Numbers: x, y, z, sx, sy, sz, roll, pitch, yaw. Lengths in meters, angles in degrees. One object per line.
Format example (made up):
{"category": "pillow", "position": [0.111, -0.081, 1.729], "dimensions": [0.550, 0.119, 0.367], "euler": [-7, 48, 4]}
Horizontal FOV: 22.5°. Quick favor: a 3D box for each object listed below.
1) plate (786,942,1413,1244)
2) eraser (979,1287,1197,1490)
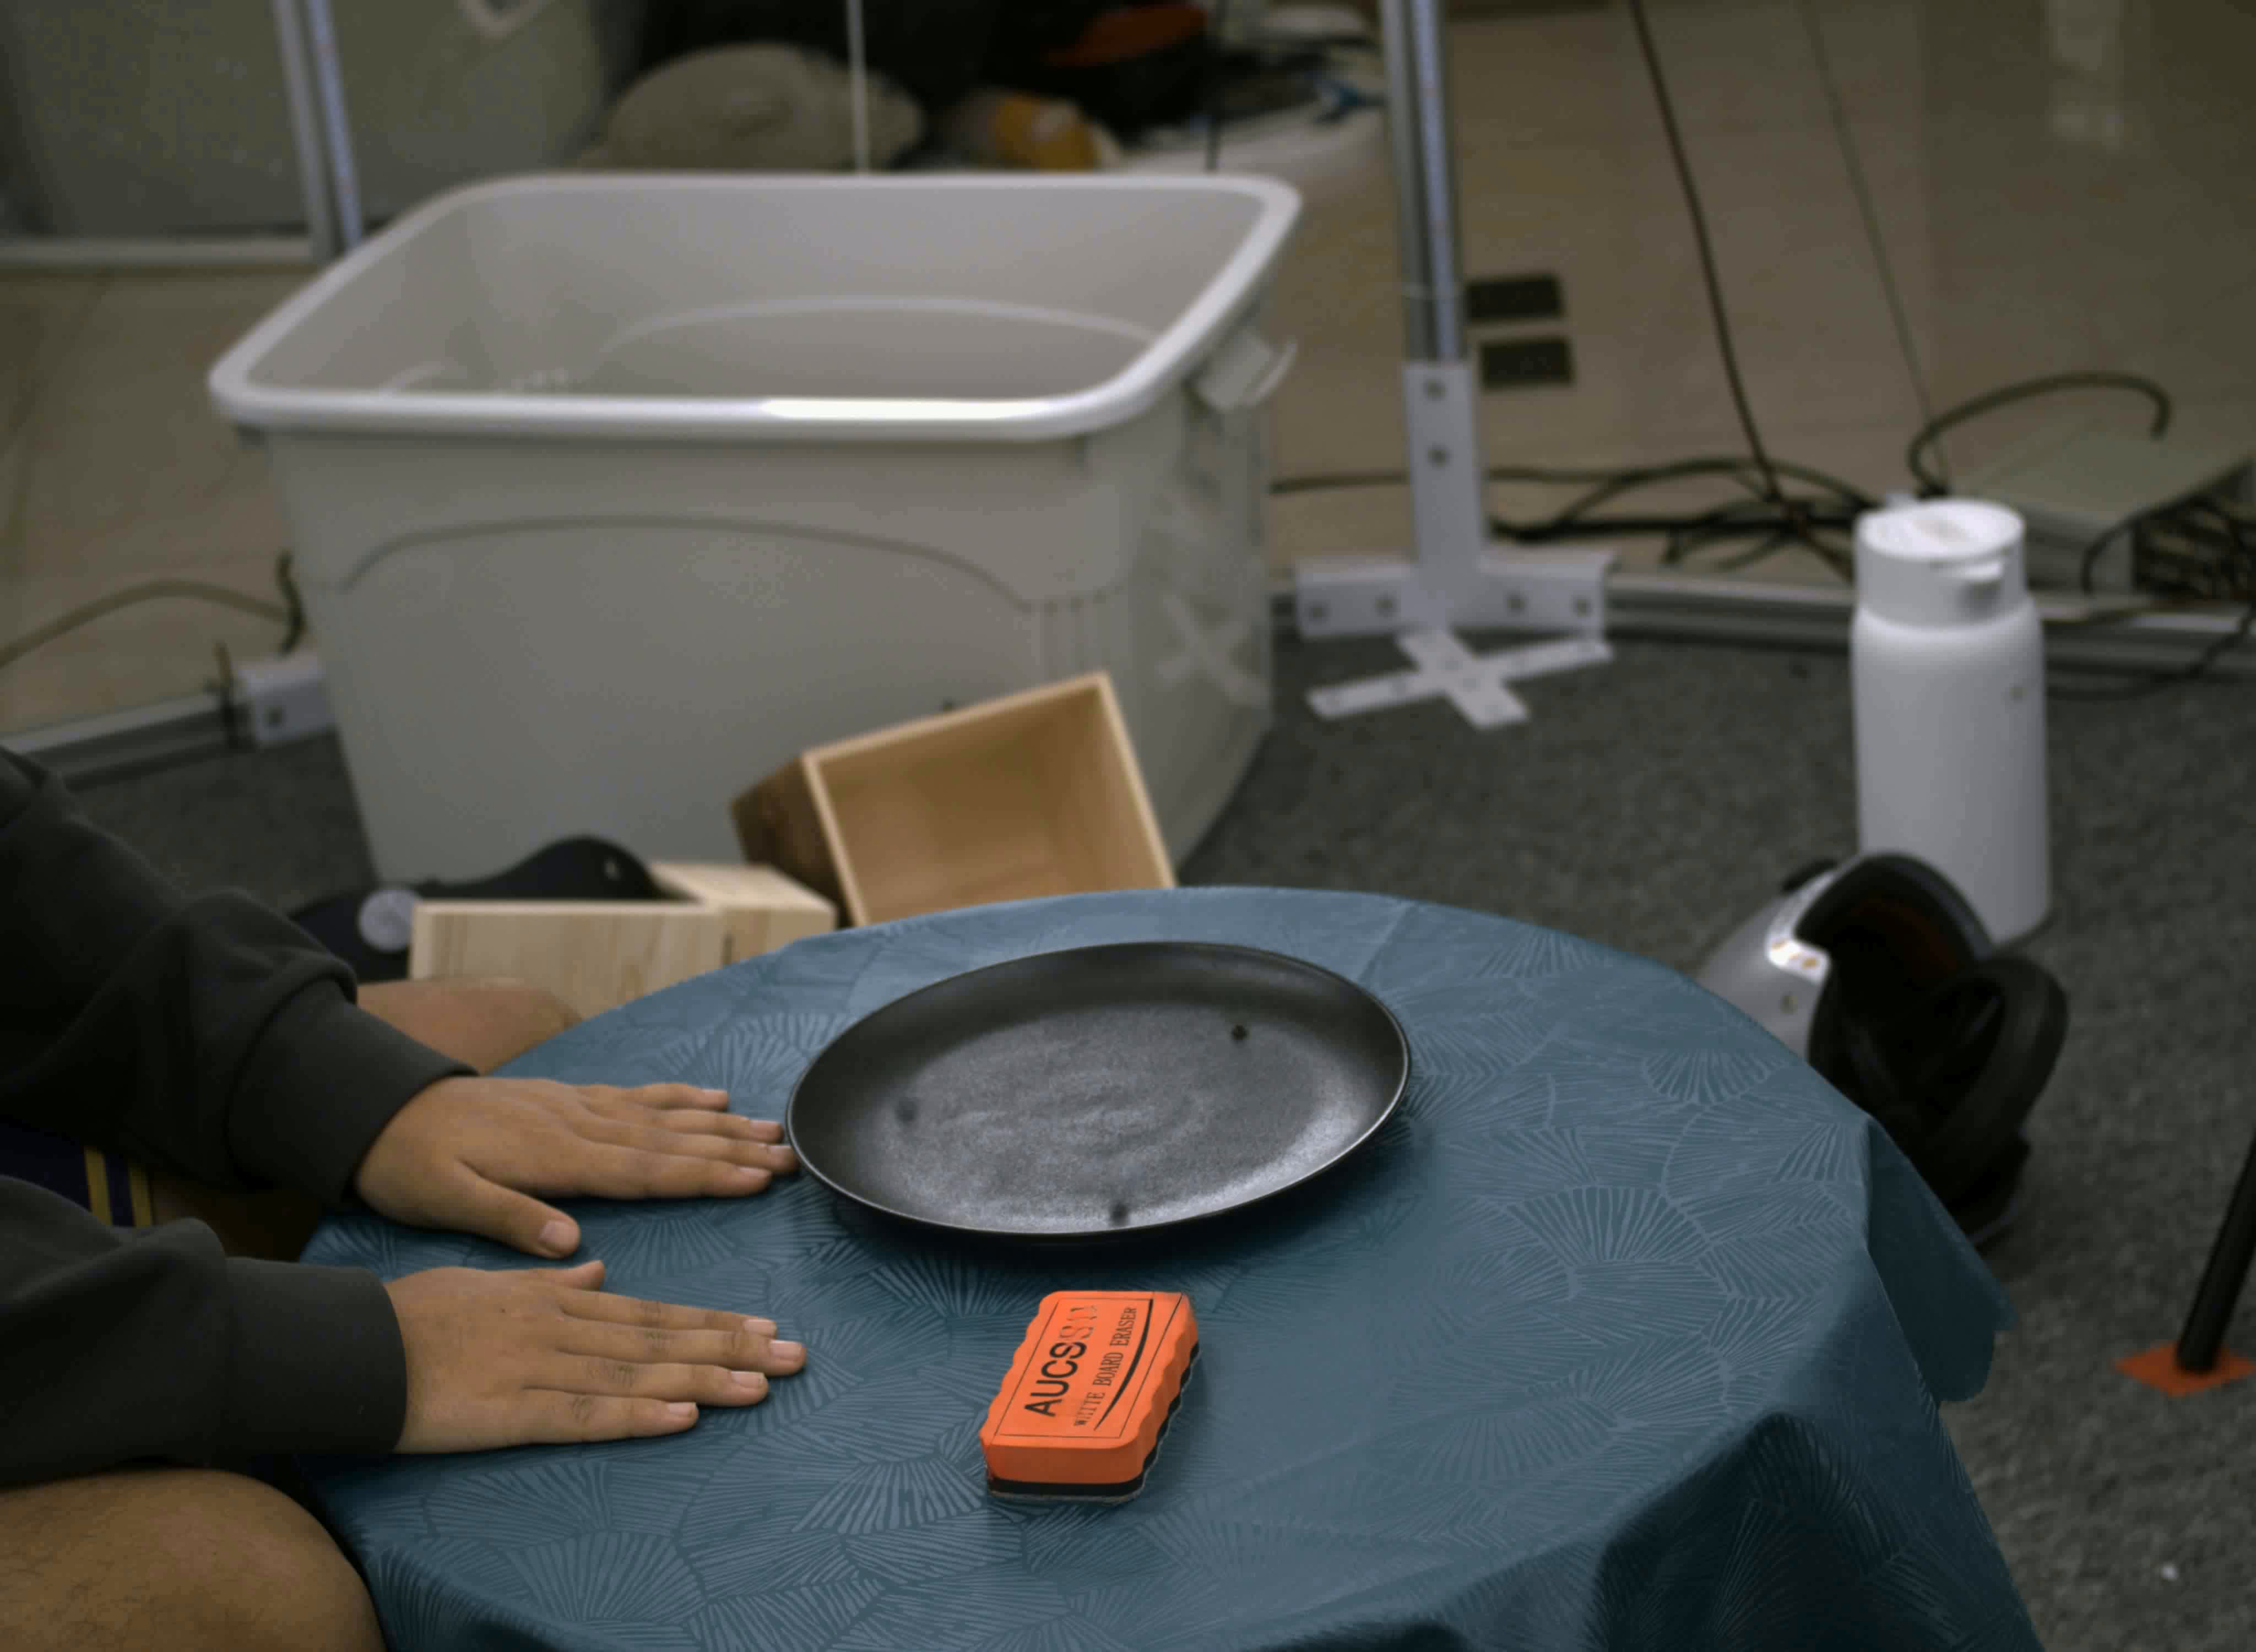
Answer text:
{"category": "plate", "position": [-0.011, 0.108, 2.189], "dimensions": [0.244, 0.024, 0.241], "euler": [-6, 25, 3]}
{"category": "eraser", "position": [-0.013, 0.196, 1.991], "dimensions": [0.059, 0.023, 0.106], "euler": [1, 24, 14]}
